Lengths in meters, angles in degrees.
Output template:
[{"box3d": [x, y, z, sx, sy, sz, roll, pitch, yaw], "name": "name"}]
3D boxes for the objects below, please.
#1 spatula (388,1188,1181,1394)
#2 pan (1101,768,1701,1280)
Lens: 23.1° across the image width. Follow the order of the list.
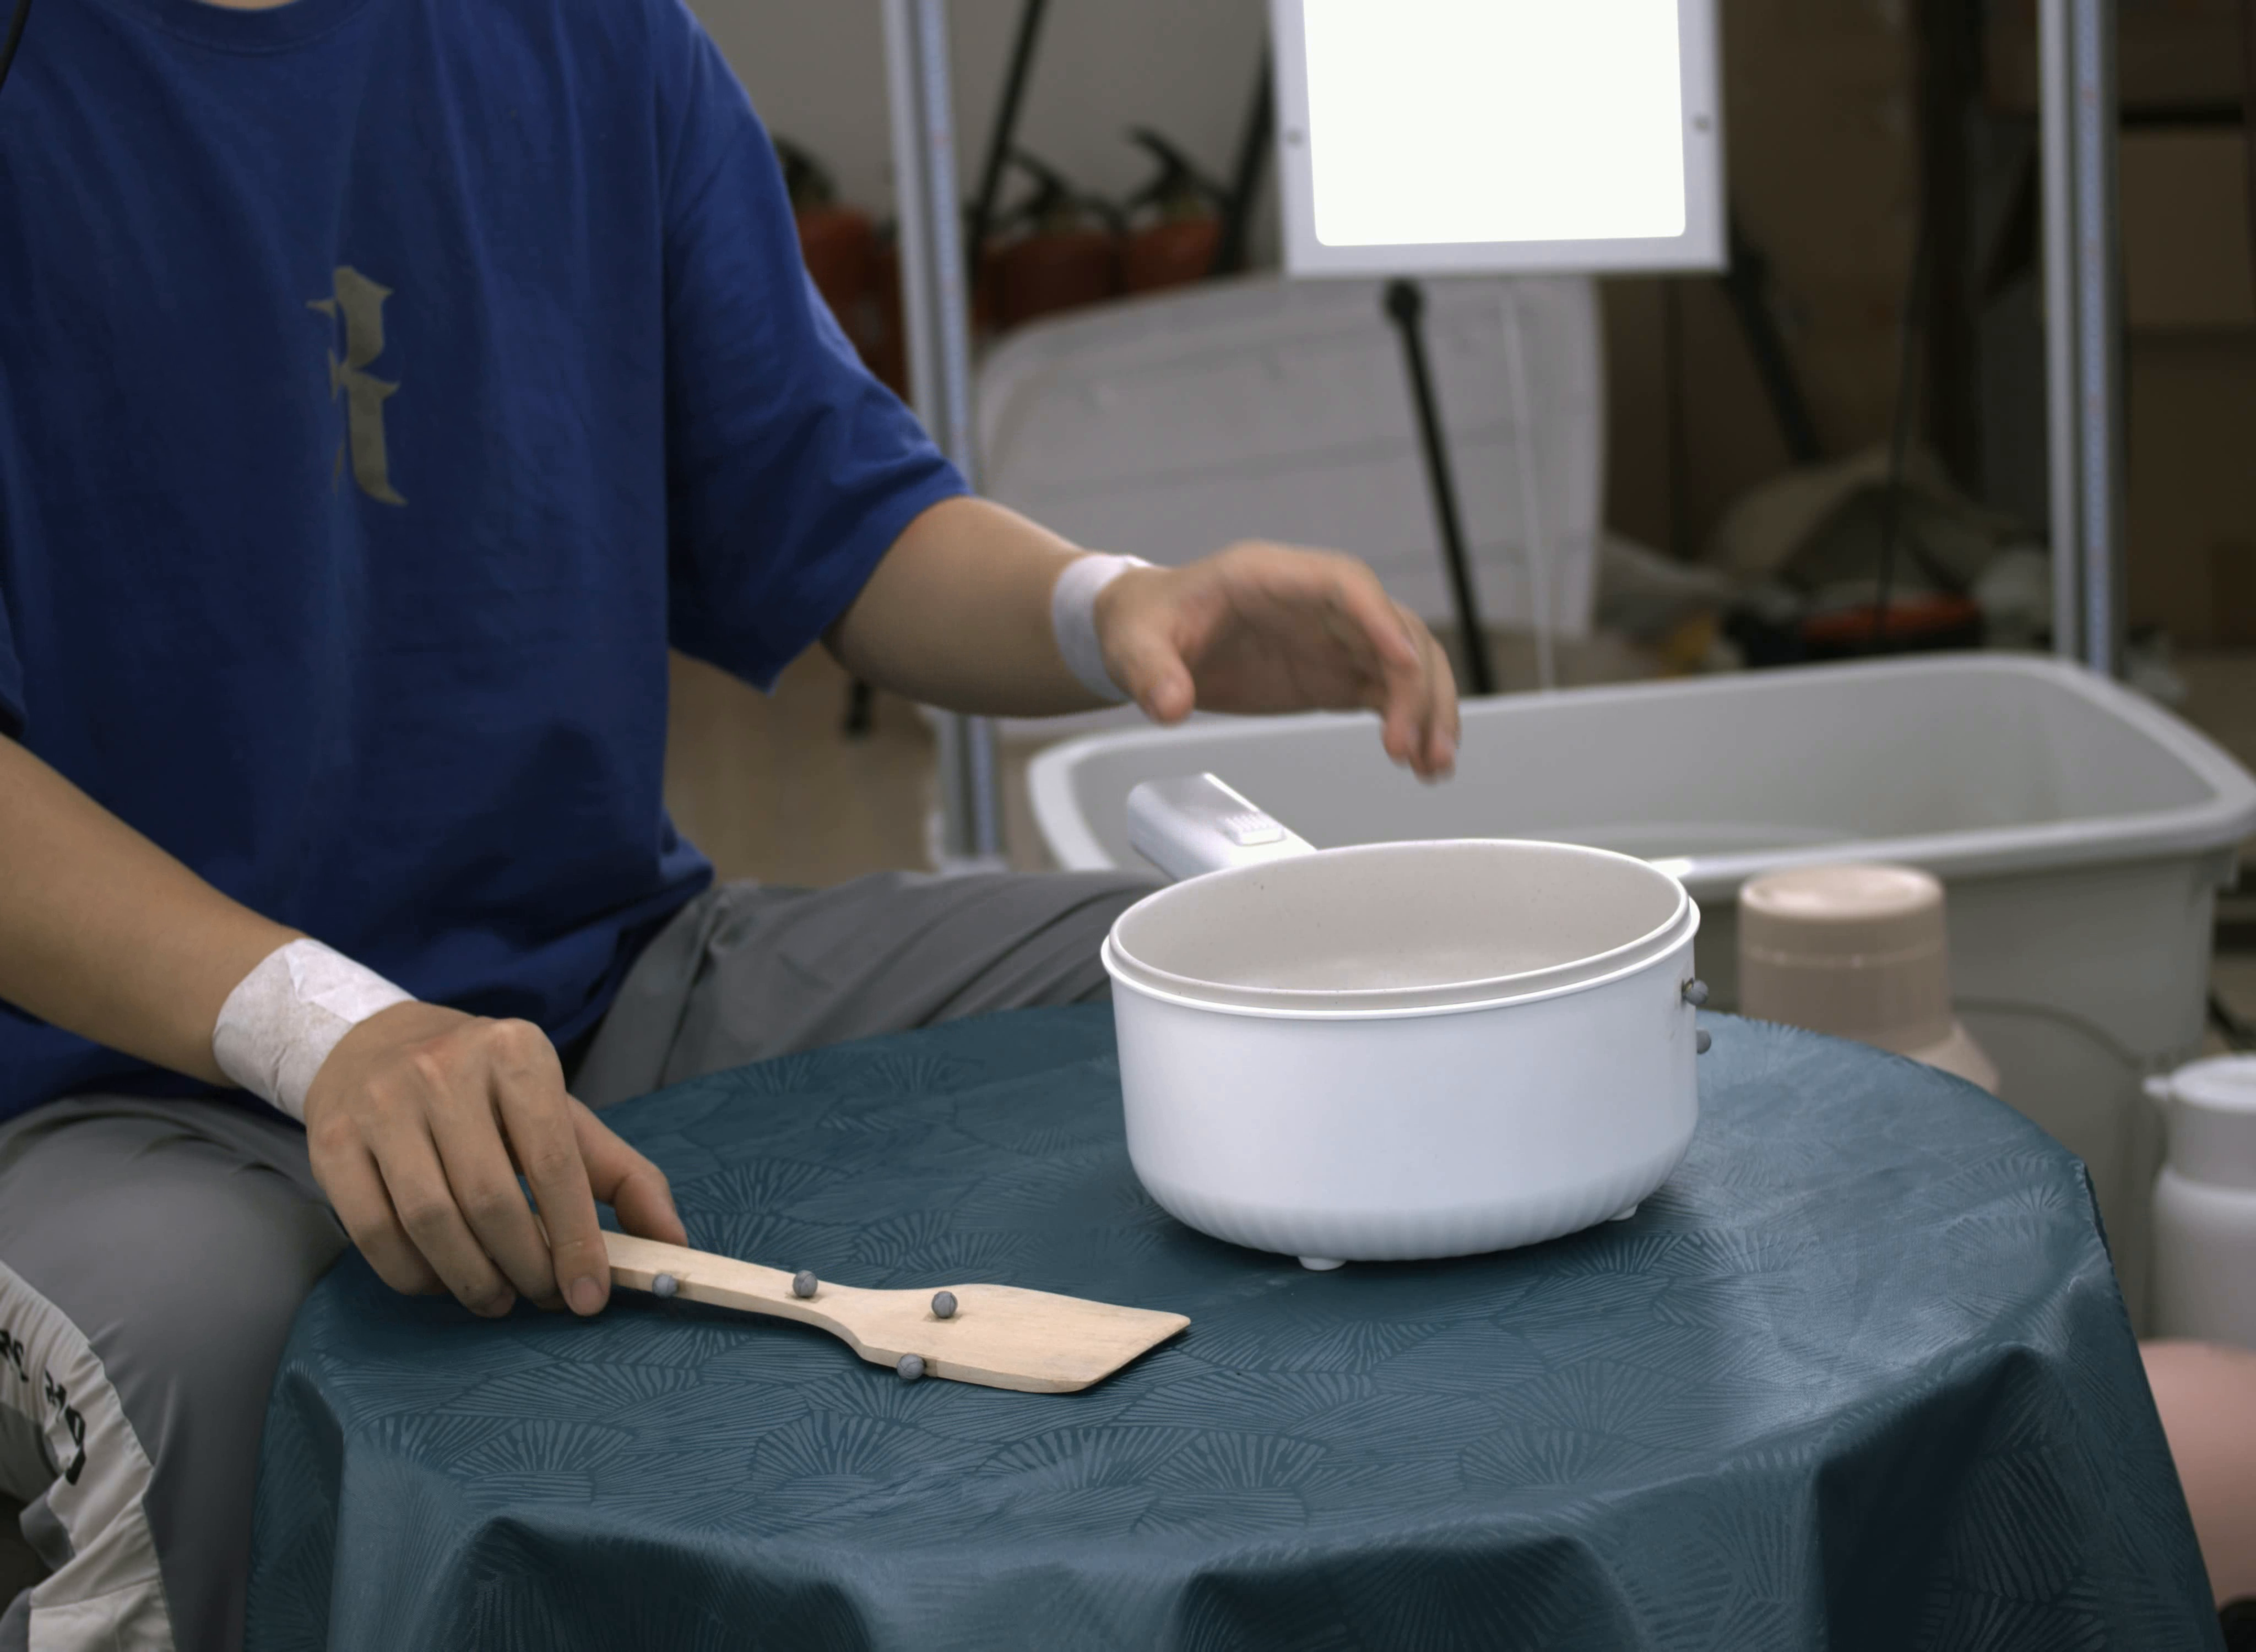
[{"box3d": [-0.123, 0.149, 1.803, 0.298, 0.011, 0.070, 9, 19, 32], "name": "spatula"}, {"box3d": [0.072, 0.063, 1.924, 0.198, 0.102, 0.358, -11, 15, -14], "name": "pan"}]
